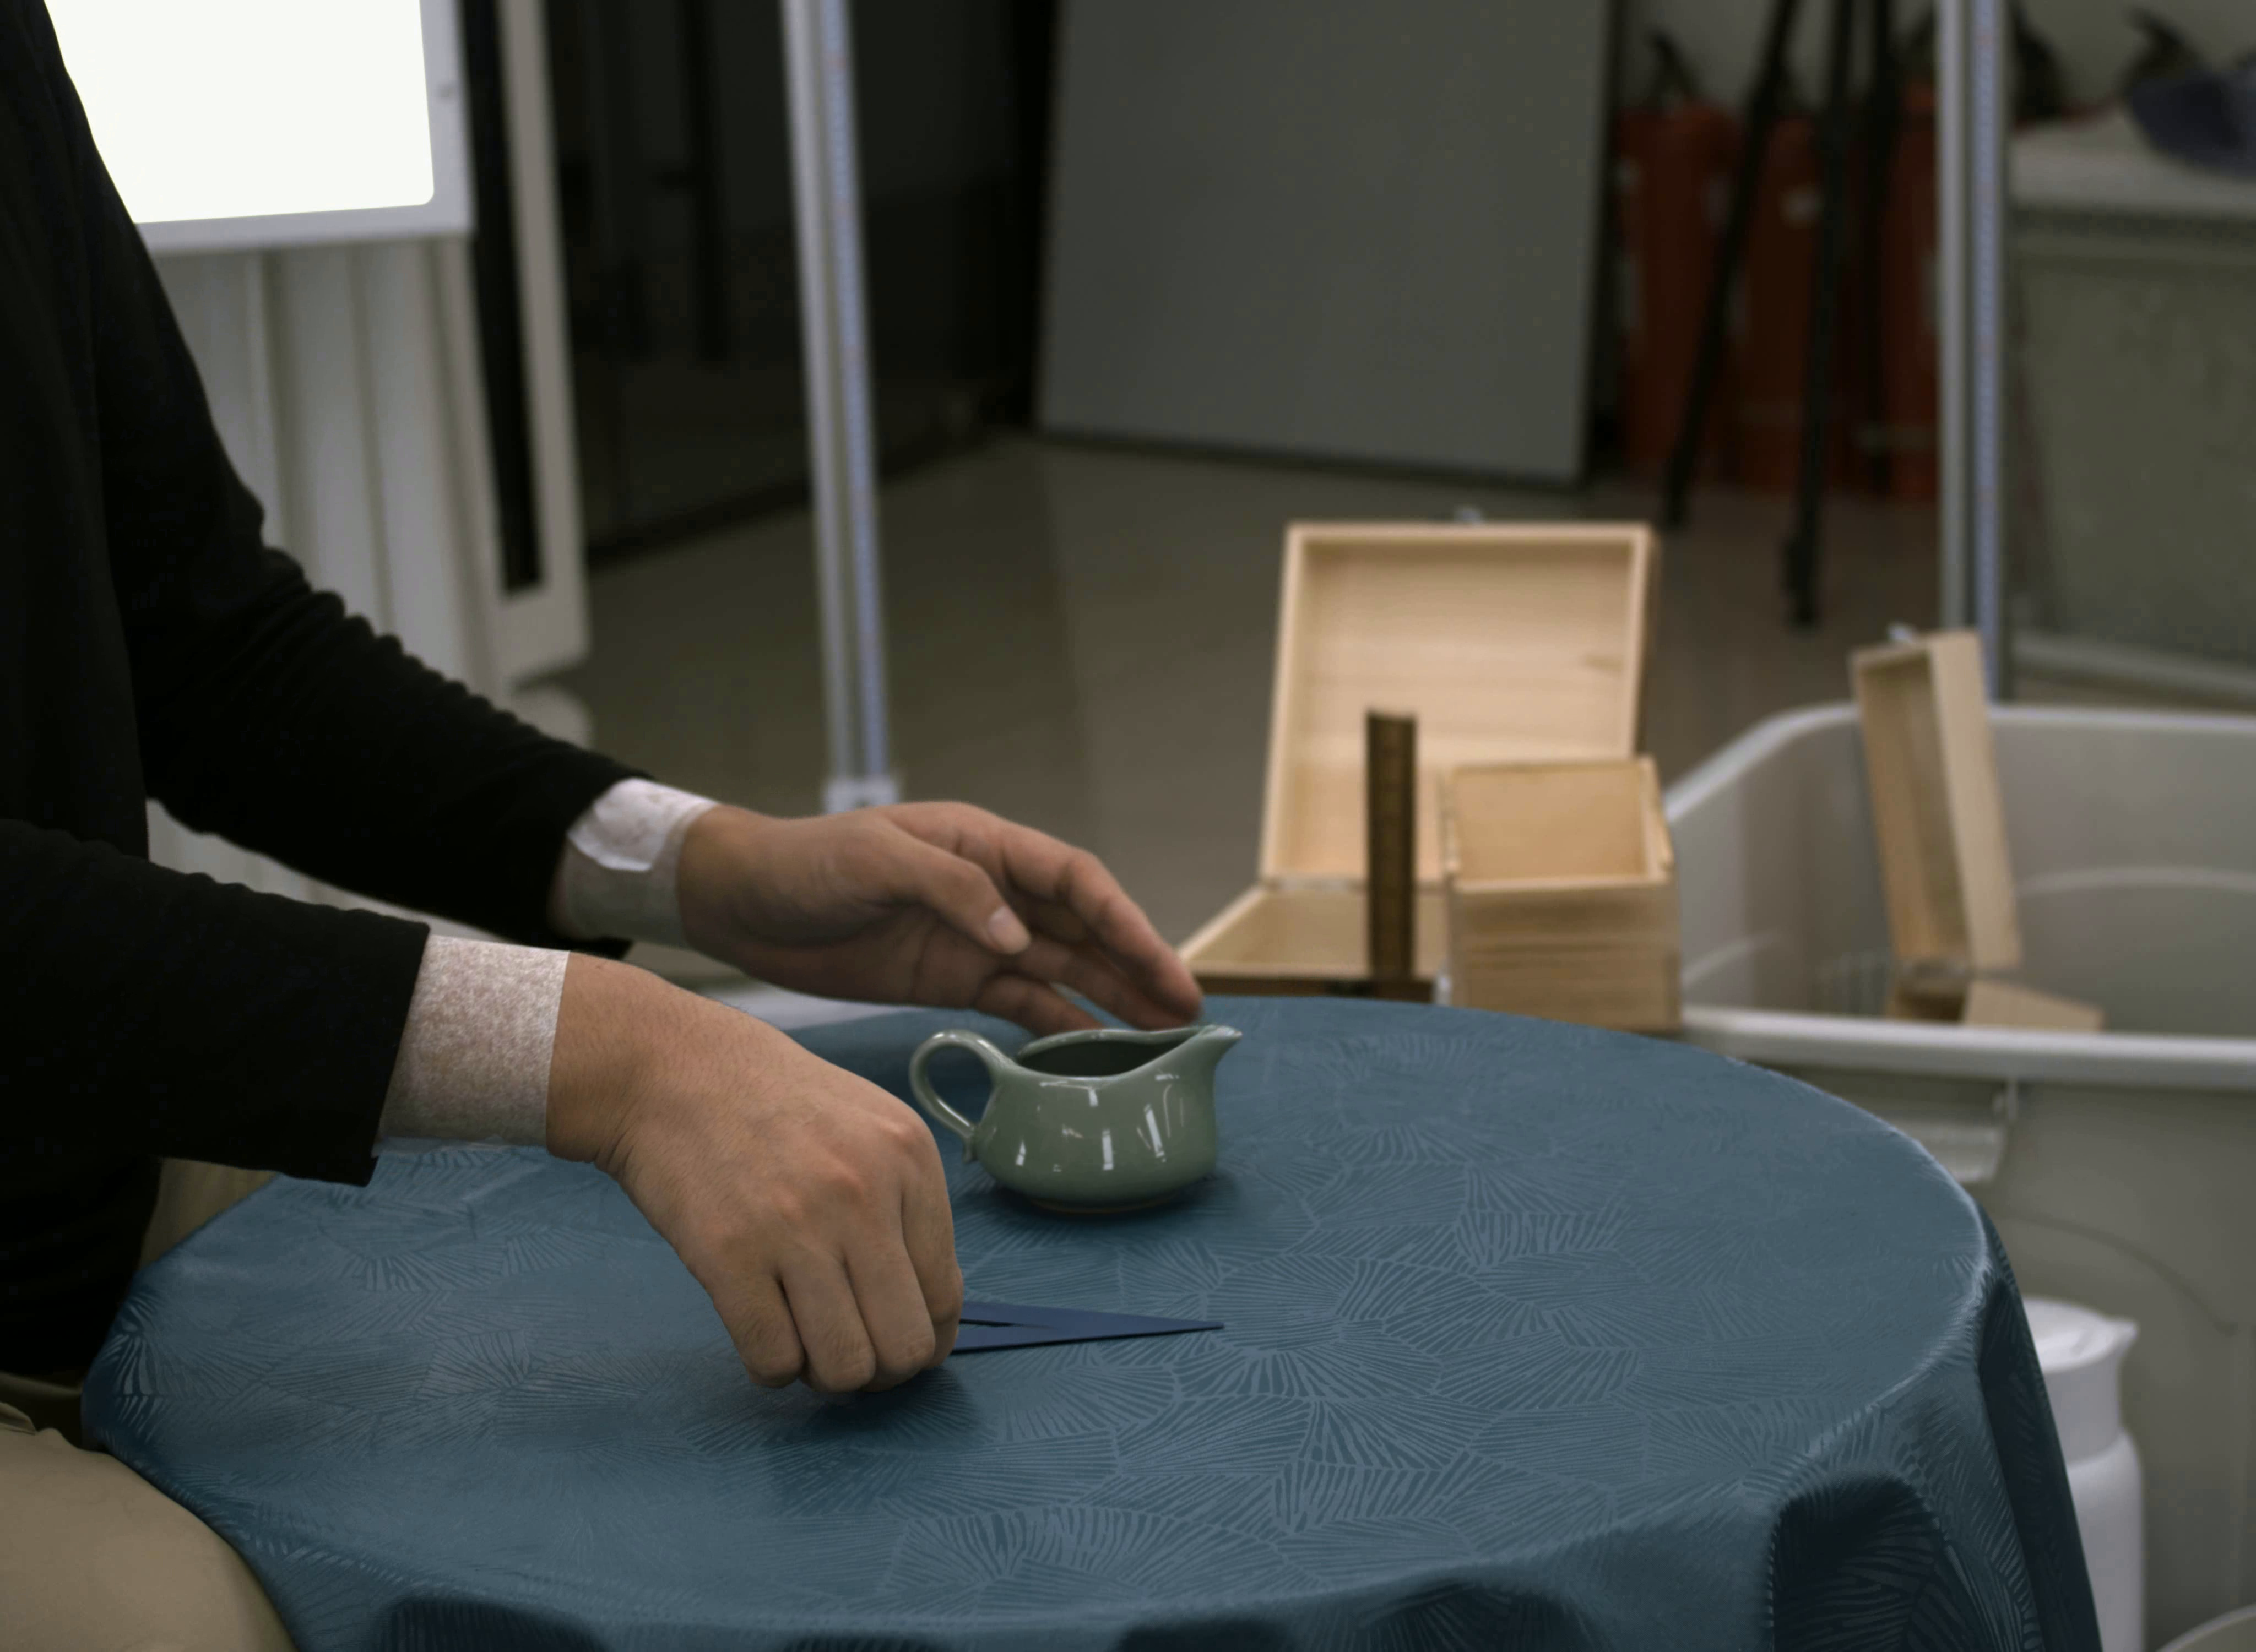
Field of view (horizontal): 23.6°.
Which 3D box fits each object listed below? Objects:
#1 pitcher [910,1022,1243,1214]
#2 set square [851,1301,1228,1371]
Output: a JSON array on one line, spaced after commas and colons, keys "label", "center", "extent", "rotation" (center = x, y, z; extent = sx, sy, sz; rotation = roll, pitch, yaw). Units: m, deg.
[{"label": "pitcher", "center": [-0.016, 0.094, 1.768], "extent": [0.112, 0.057, 0.084], "rotation": [-2, 11, 10]}, {"label": "set square", "center": [-0.037, 0.157, 1.626], "extent": [0.132, 0.006, 0.060], "rotation": [4, 15, 28]}]
